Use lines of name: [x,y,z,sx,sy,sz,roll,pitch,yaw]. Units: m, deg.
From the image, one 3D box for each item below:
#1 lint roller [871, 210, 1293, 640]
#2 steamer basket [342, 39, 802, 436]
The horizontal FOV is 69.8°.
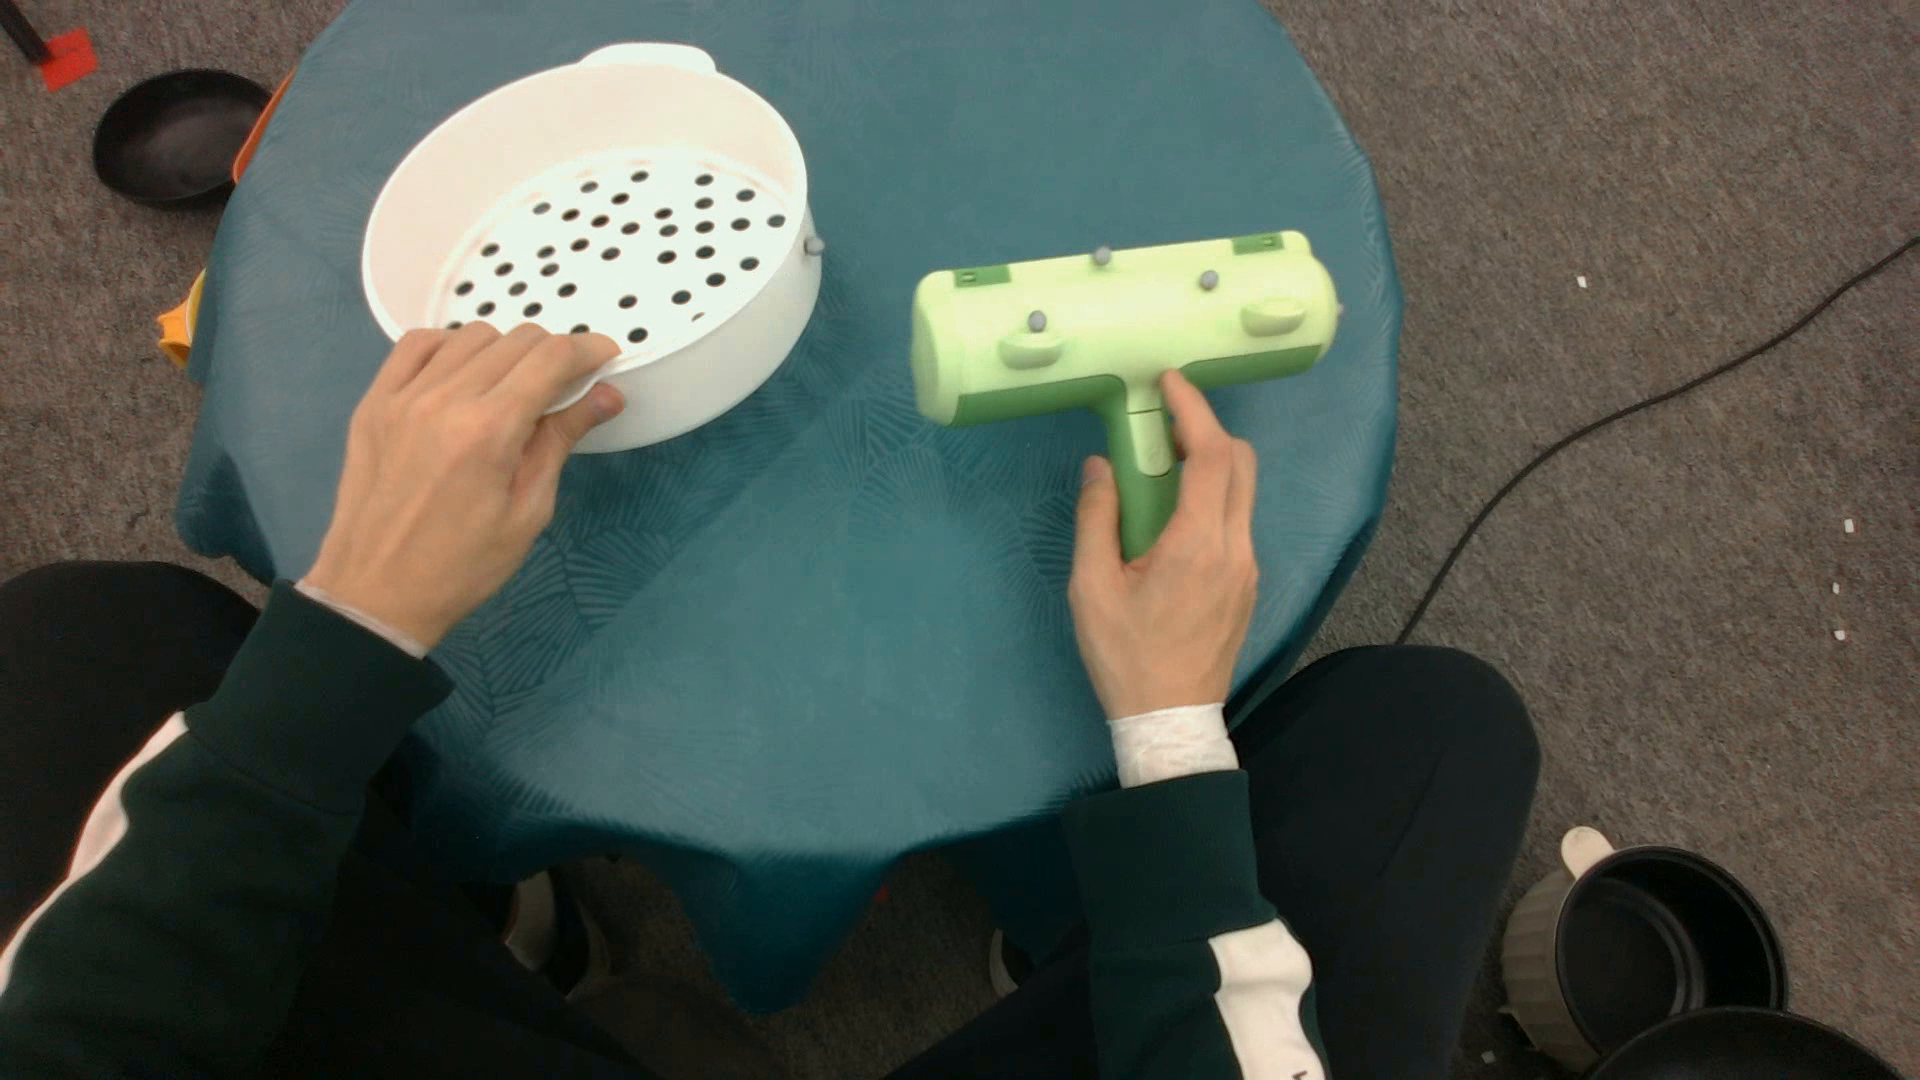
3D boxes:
lint roller: [0.073,-0.047,0.610,0.199,0.082,0.183,-13,85,-20]
steamer basket: [-0.175,-0.138,0.639,0.202,0.069,0.231,2,55,11]
